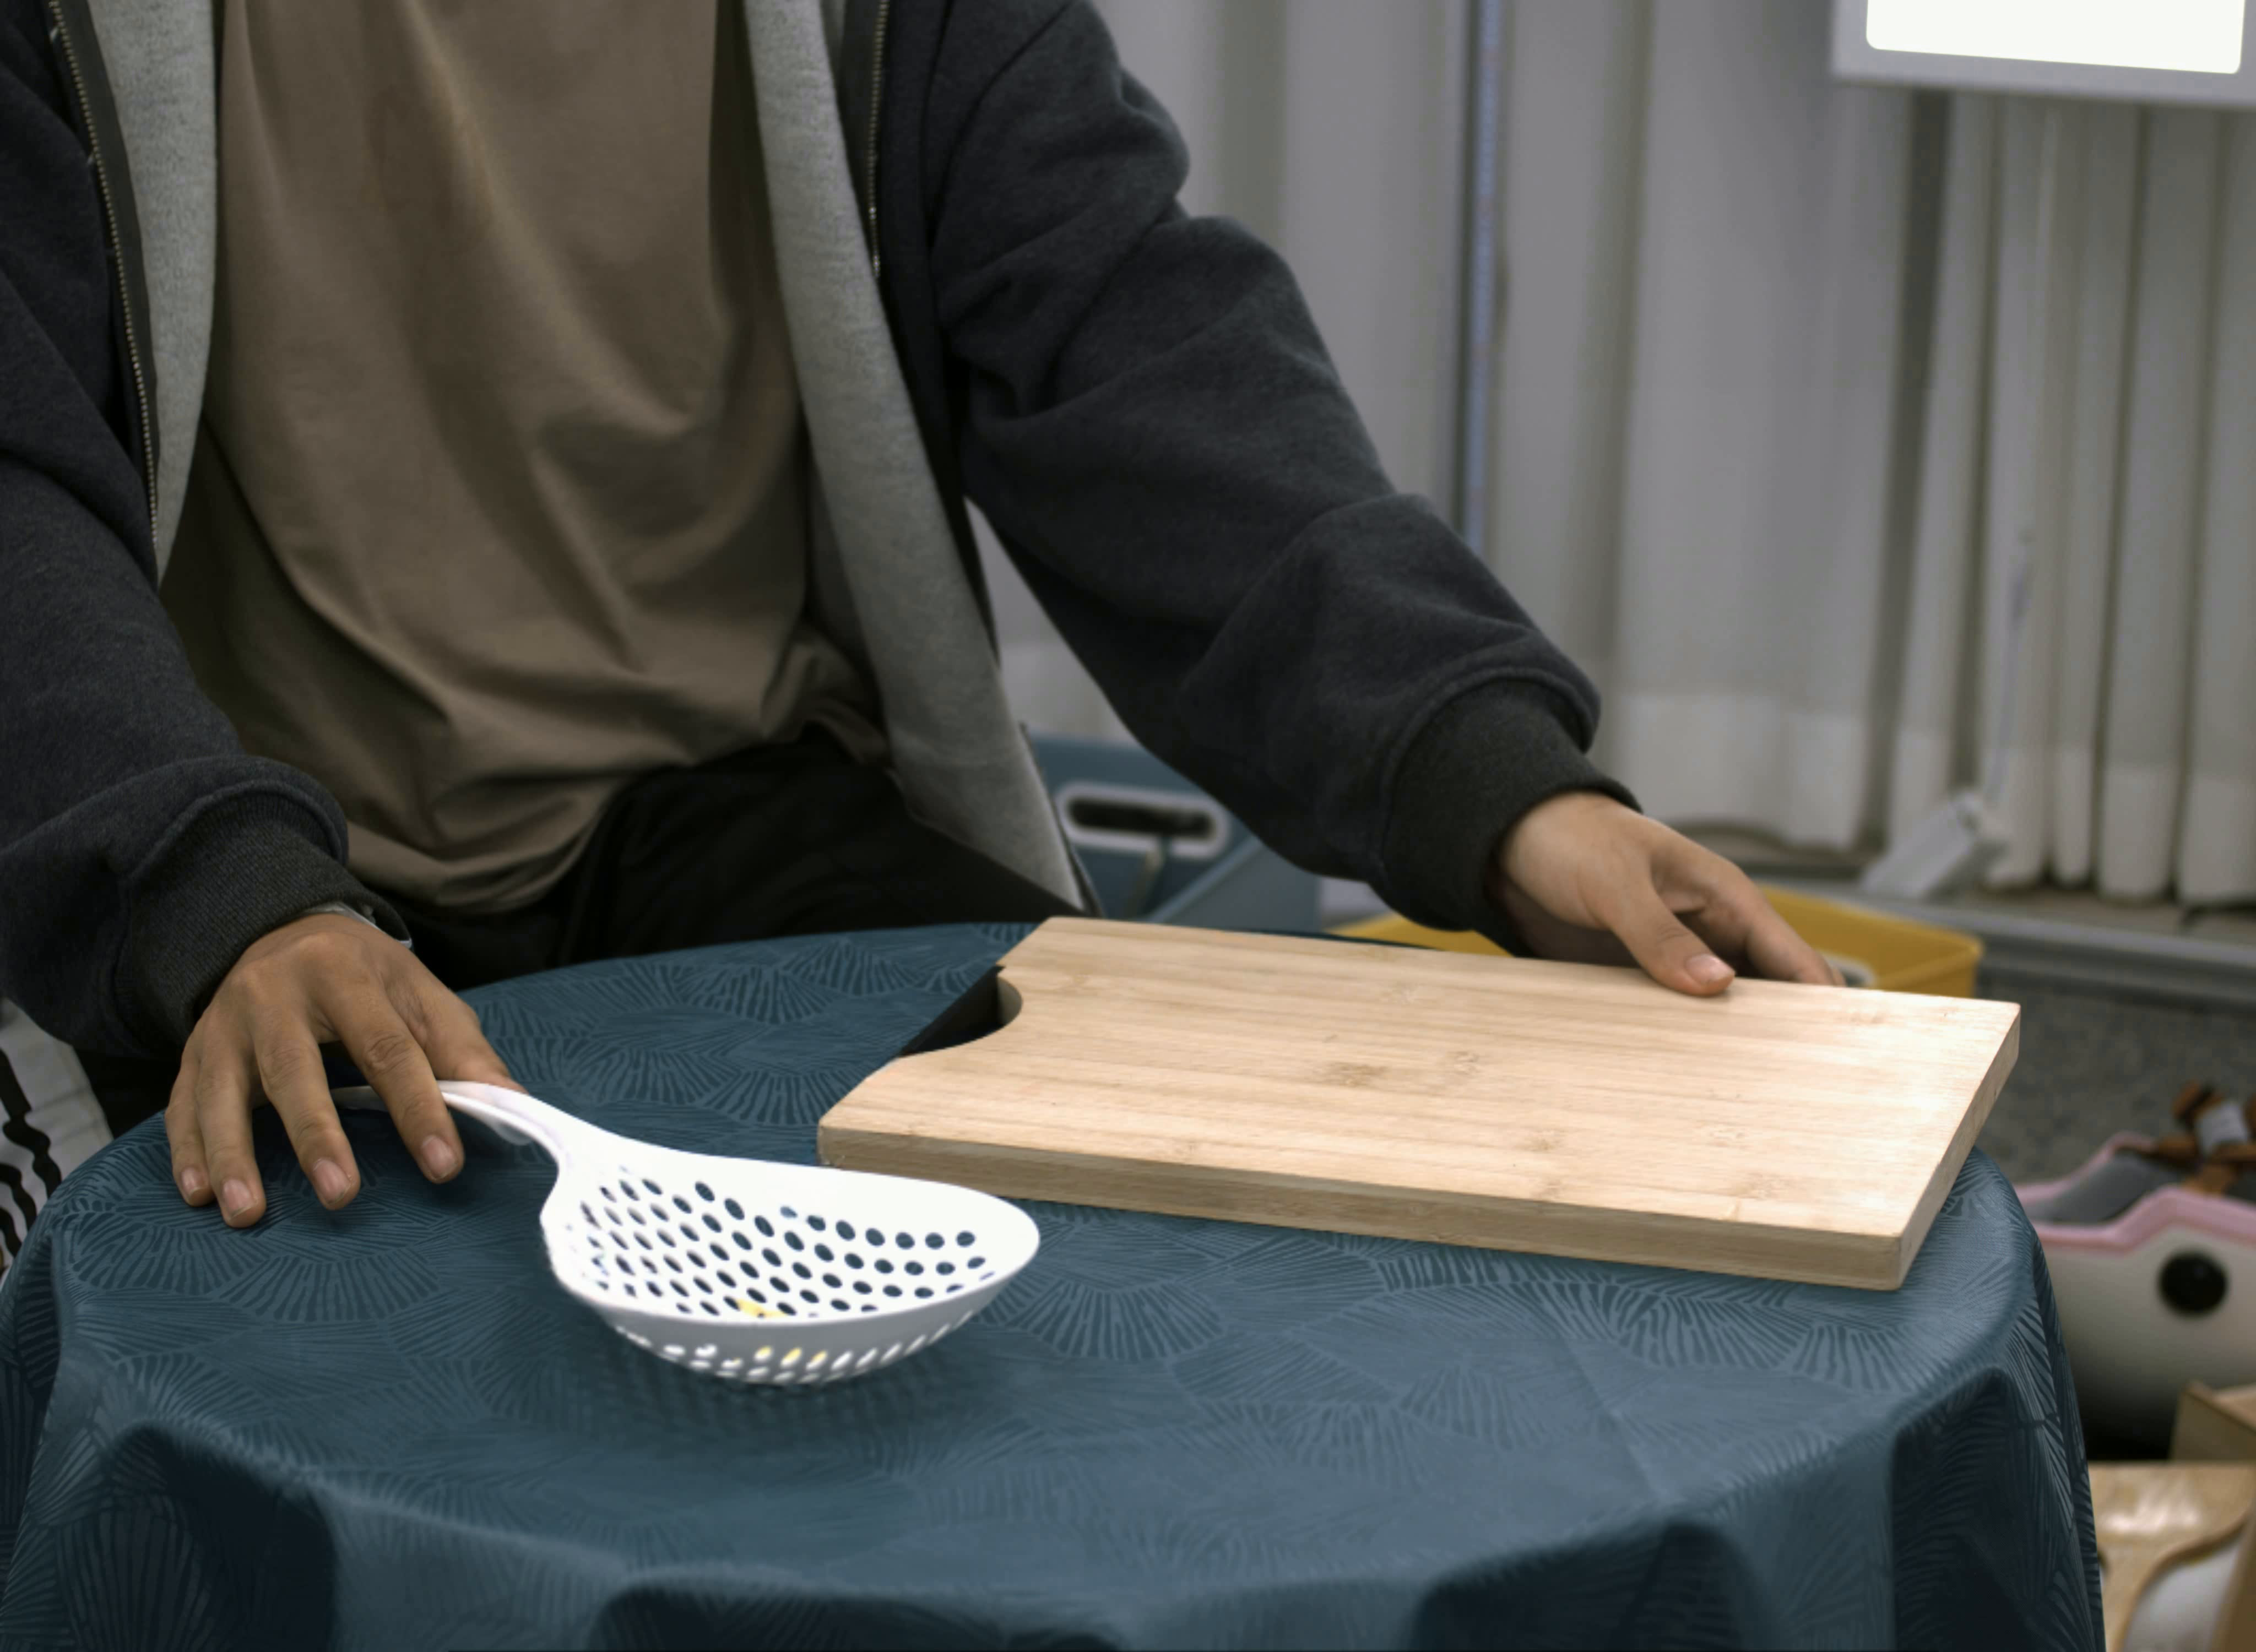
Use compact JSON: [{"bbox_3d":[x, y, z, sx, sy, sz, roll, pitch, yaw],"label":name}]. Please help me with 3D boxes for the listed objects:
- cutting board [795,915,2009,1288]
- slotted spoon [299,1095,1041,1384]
[{"bbox_3d":[0.095,0.084,1.696,0.346,0.024,0.250,5,16,15],"label":"cutting board"},{"bbox_3d":[-0.156,0.108,1.556,0.137,0.051,0.343,-13,20,-33],"label":"slotted spoon"}]
